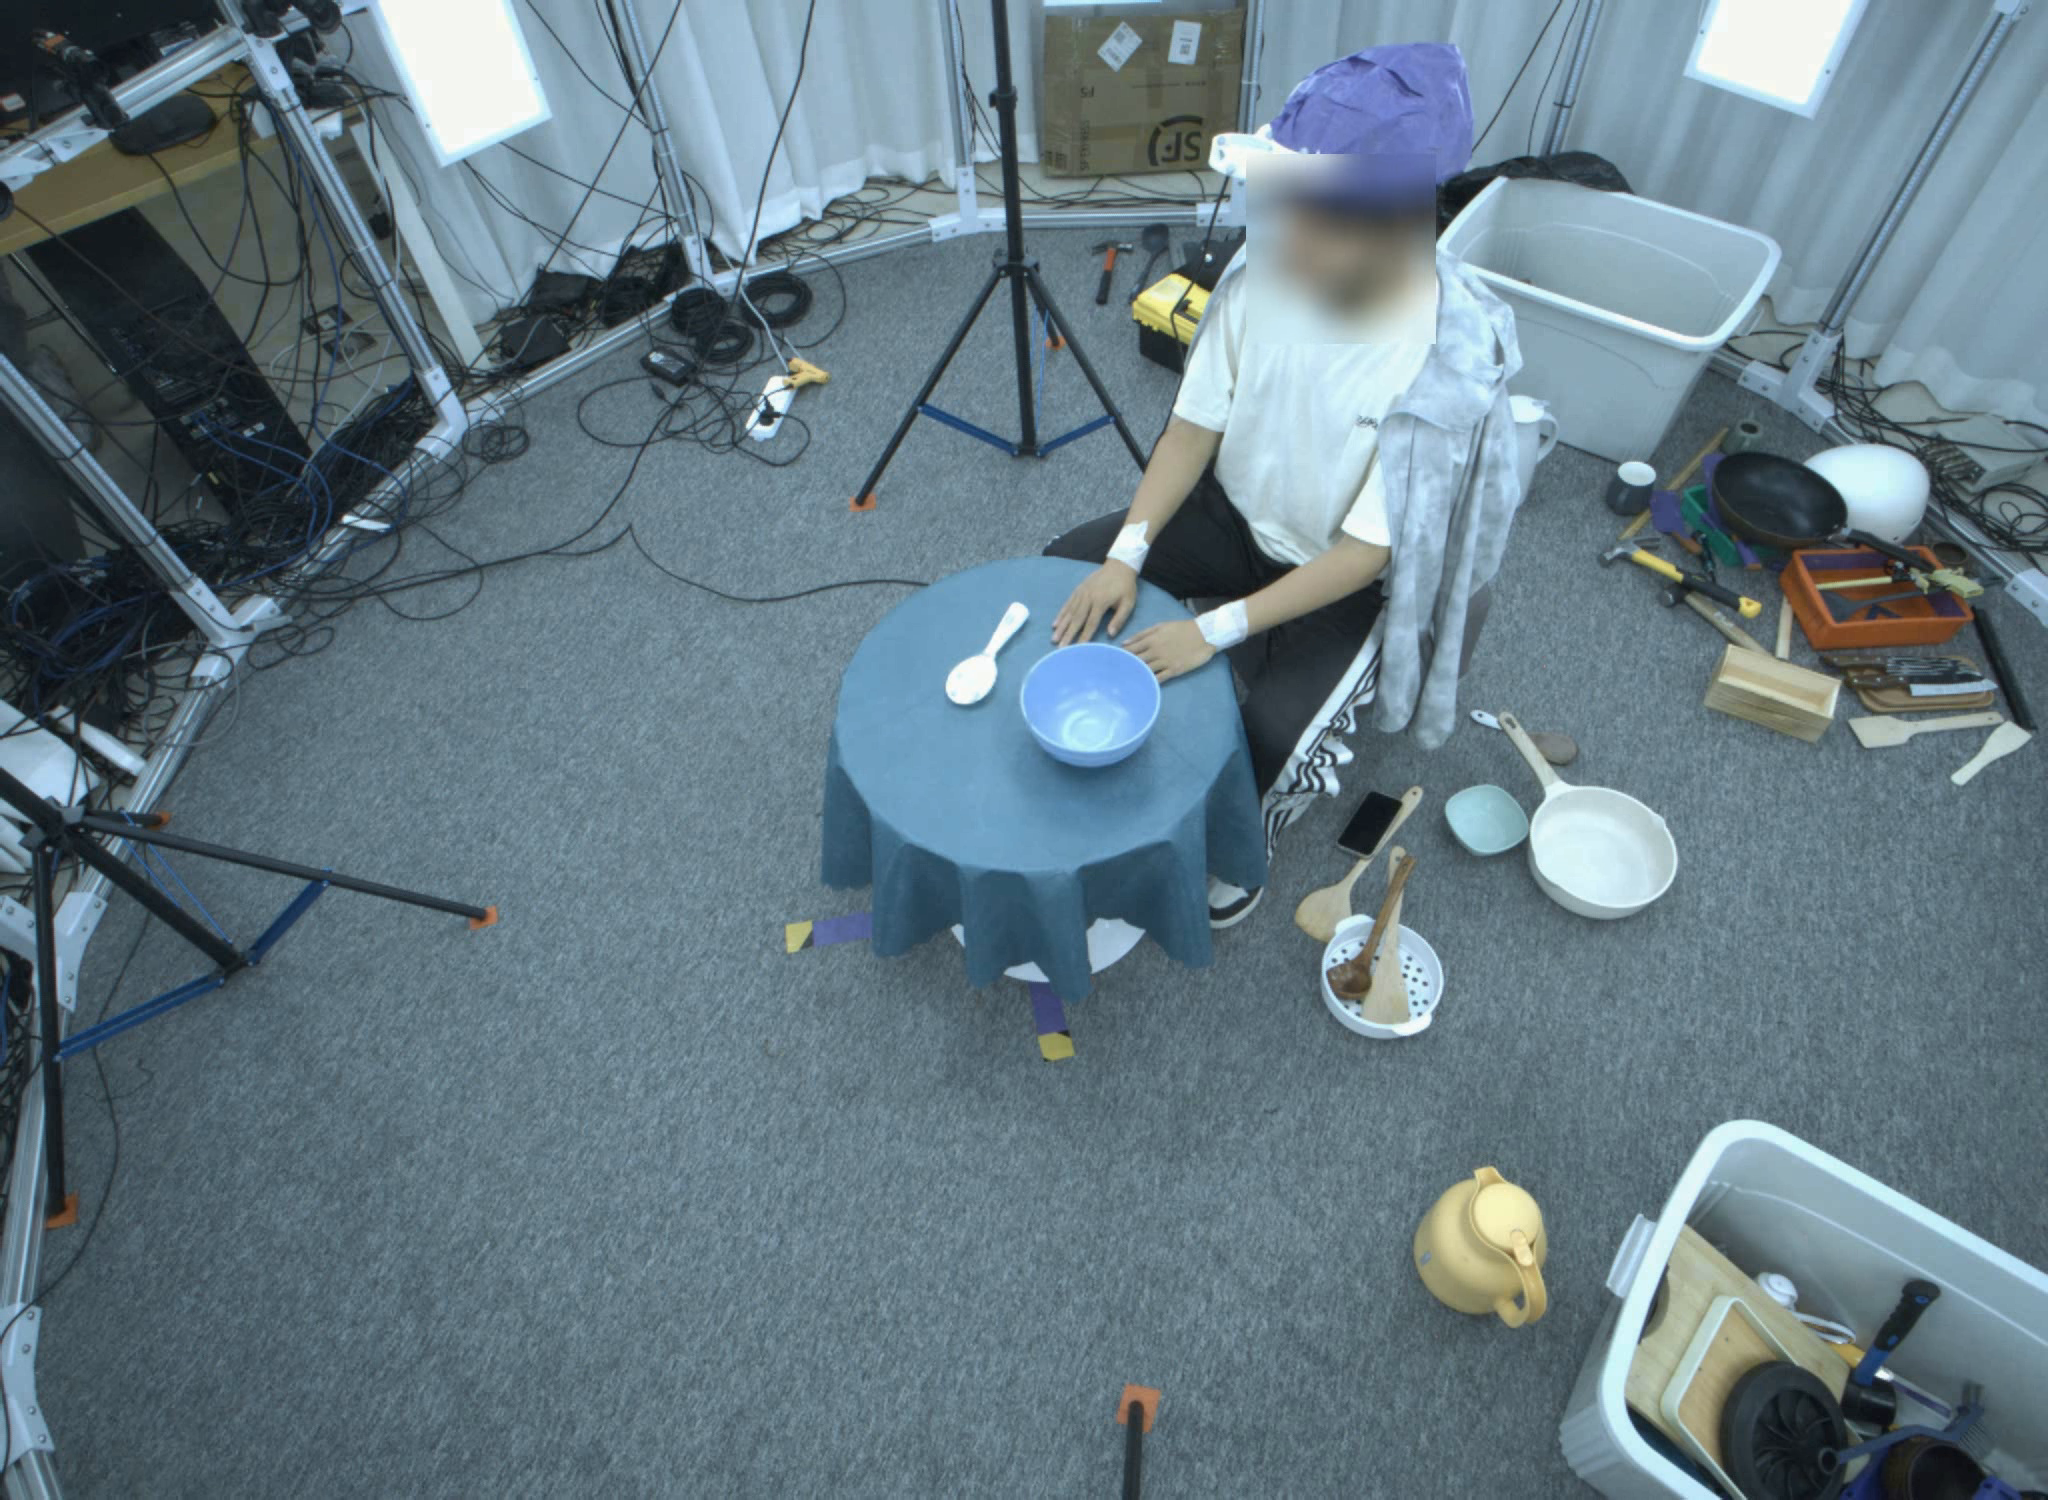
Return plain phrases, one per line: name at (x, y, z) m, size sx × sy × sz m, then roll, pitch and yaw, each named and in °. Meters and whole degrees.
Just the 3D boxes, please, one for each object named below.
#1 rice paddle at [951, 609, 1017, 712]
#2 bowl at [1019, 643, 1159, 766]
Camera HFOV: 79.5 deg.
rice paddle at (-0.056, -0.136, 1.875) m, size 0.069 × 0.029 × 0.205 m, roll 21°, pitch 54°, yaw 1°
bowl at (0.095, -0.050, 1.762) m, size 0.196 × 0.096 × 0.194 m, roll -2°, pitch 55°, yaw 4°
